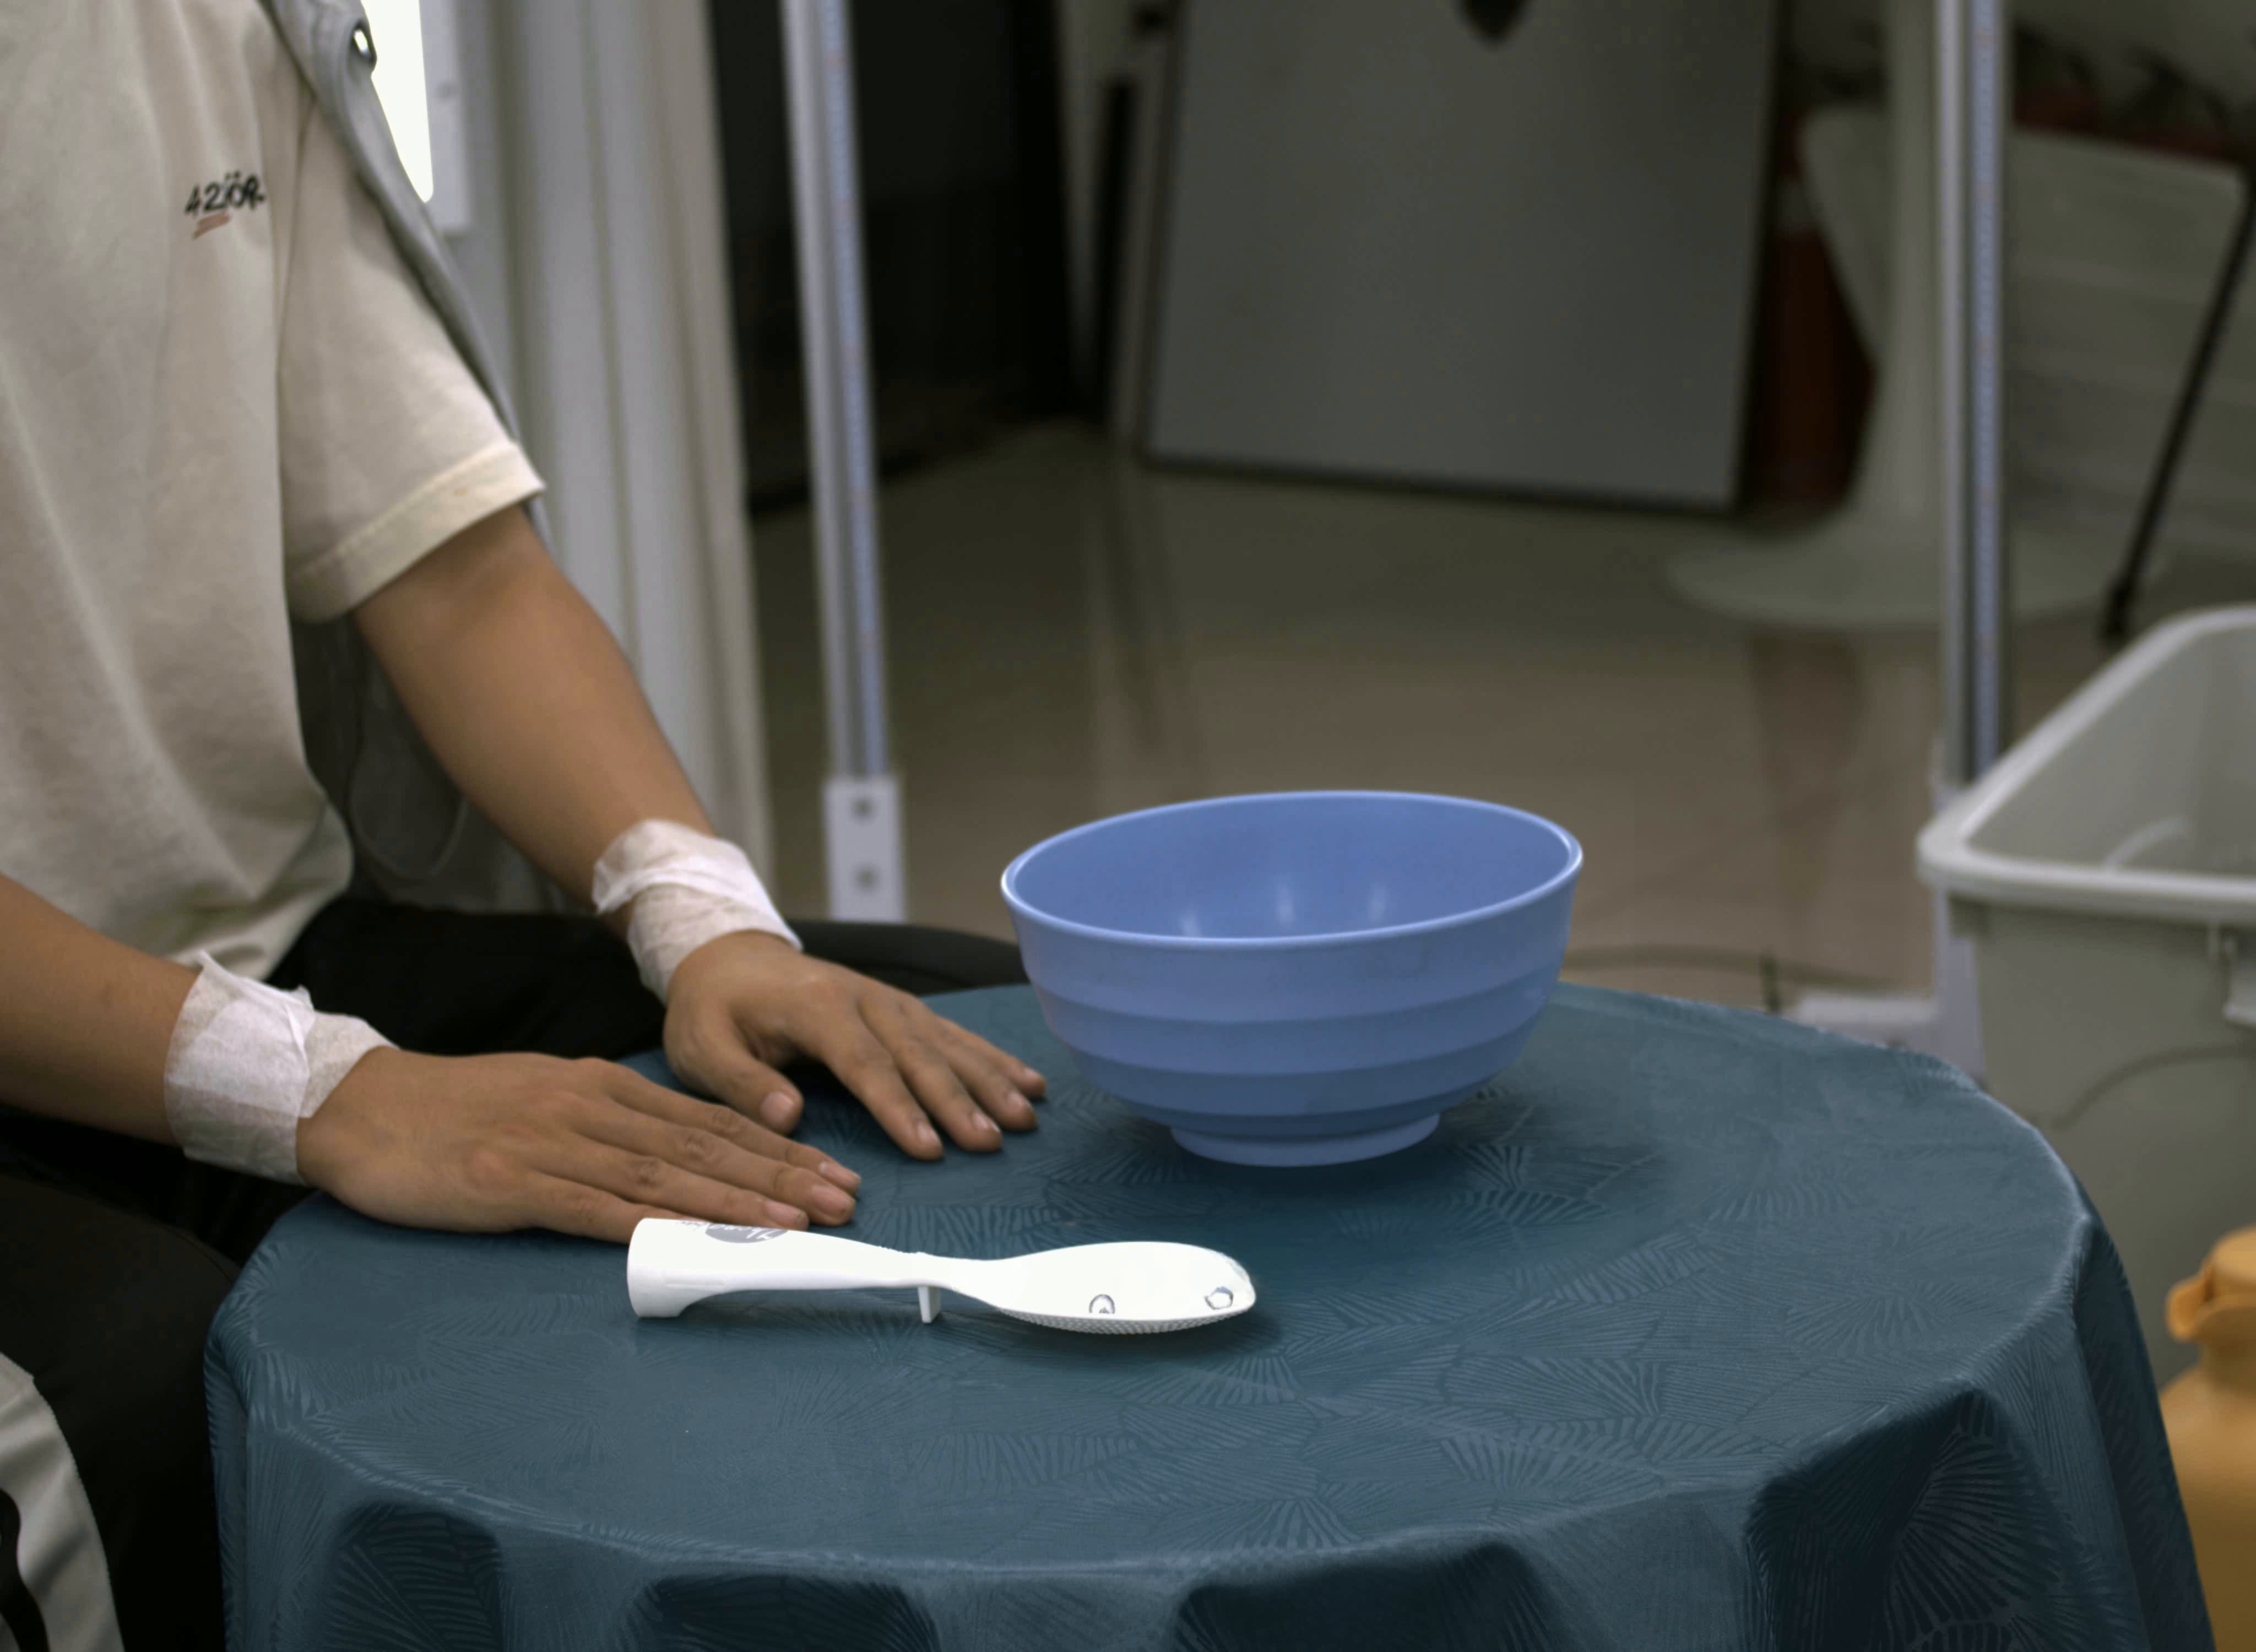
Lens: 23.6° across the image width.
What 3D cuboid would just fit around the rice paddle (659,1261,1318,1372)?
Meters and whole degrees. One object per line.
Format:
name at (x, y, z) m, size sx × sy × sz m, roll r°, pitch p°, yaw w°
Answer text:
rice paddle at (-0.042, 0.143, 1.656) m, size 0.203 × 0.030 × 0.068 m, roll -6°, pitch 0°, yaw 8°

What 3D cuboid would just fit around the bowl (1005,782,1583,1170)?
bowl at (0.057, 0.056, 1.818) m, size 0.194 × 0.096 × 0.197 m, roll -3°, pitch 15°, yaw 0°
